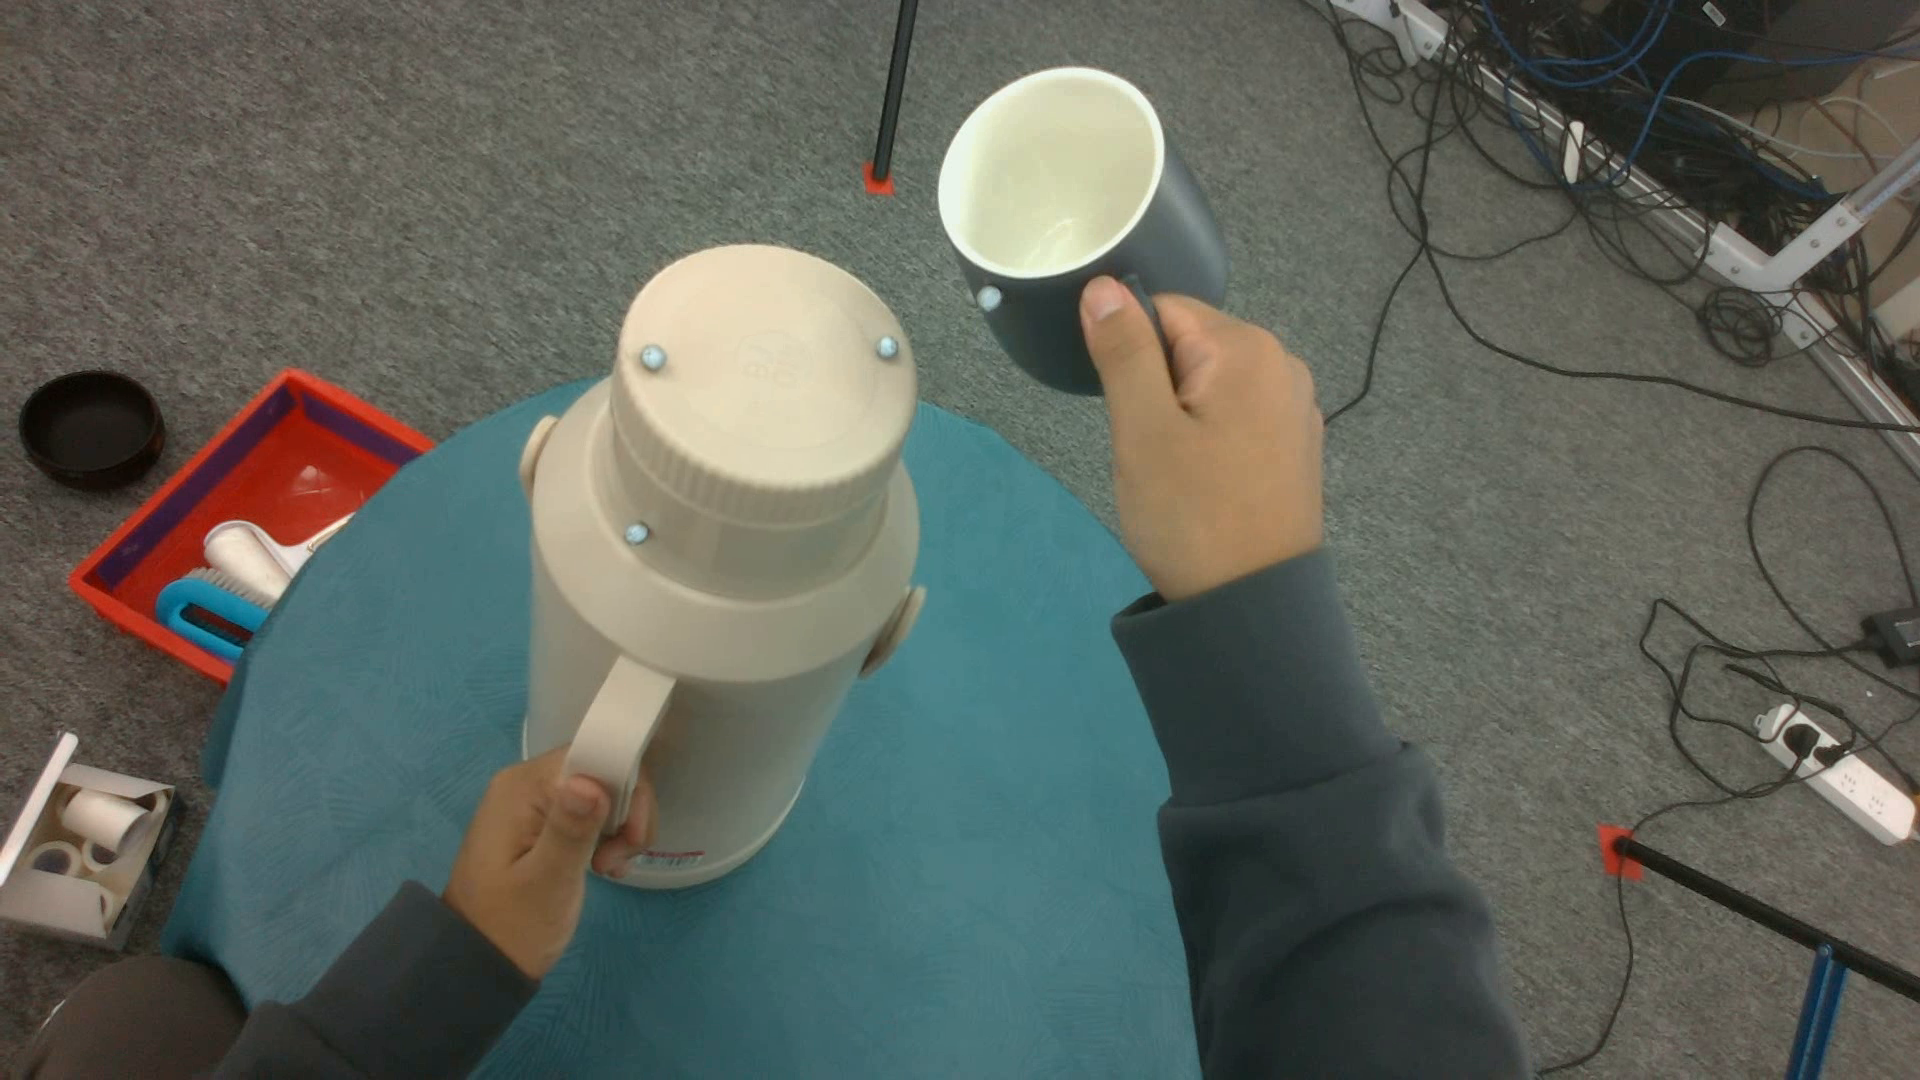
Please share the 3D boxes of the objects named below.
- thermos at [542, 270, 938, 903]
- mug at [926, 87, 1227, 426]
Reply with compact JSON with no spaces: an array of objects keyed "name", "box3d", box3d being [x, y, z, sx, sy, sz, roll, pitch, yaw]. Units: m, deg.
[{"name":"thermos","box3d":[-0.117,0.053,0.650,0.175,0.404,0.208,22,57,-3]},{"name":"mug","box3d":[0.048,-0.095,0.500,0.090,0.093,0.123,27,34,-57]}]
